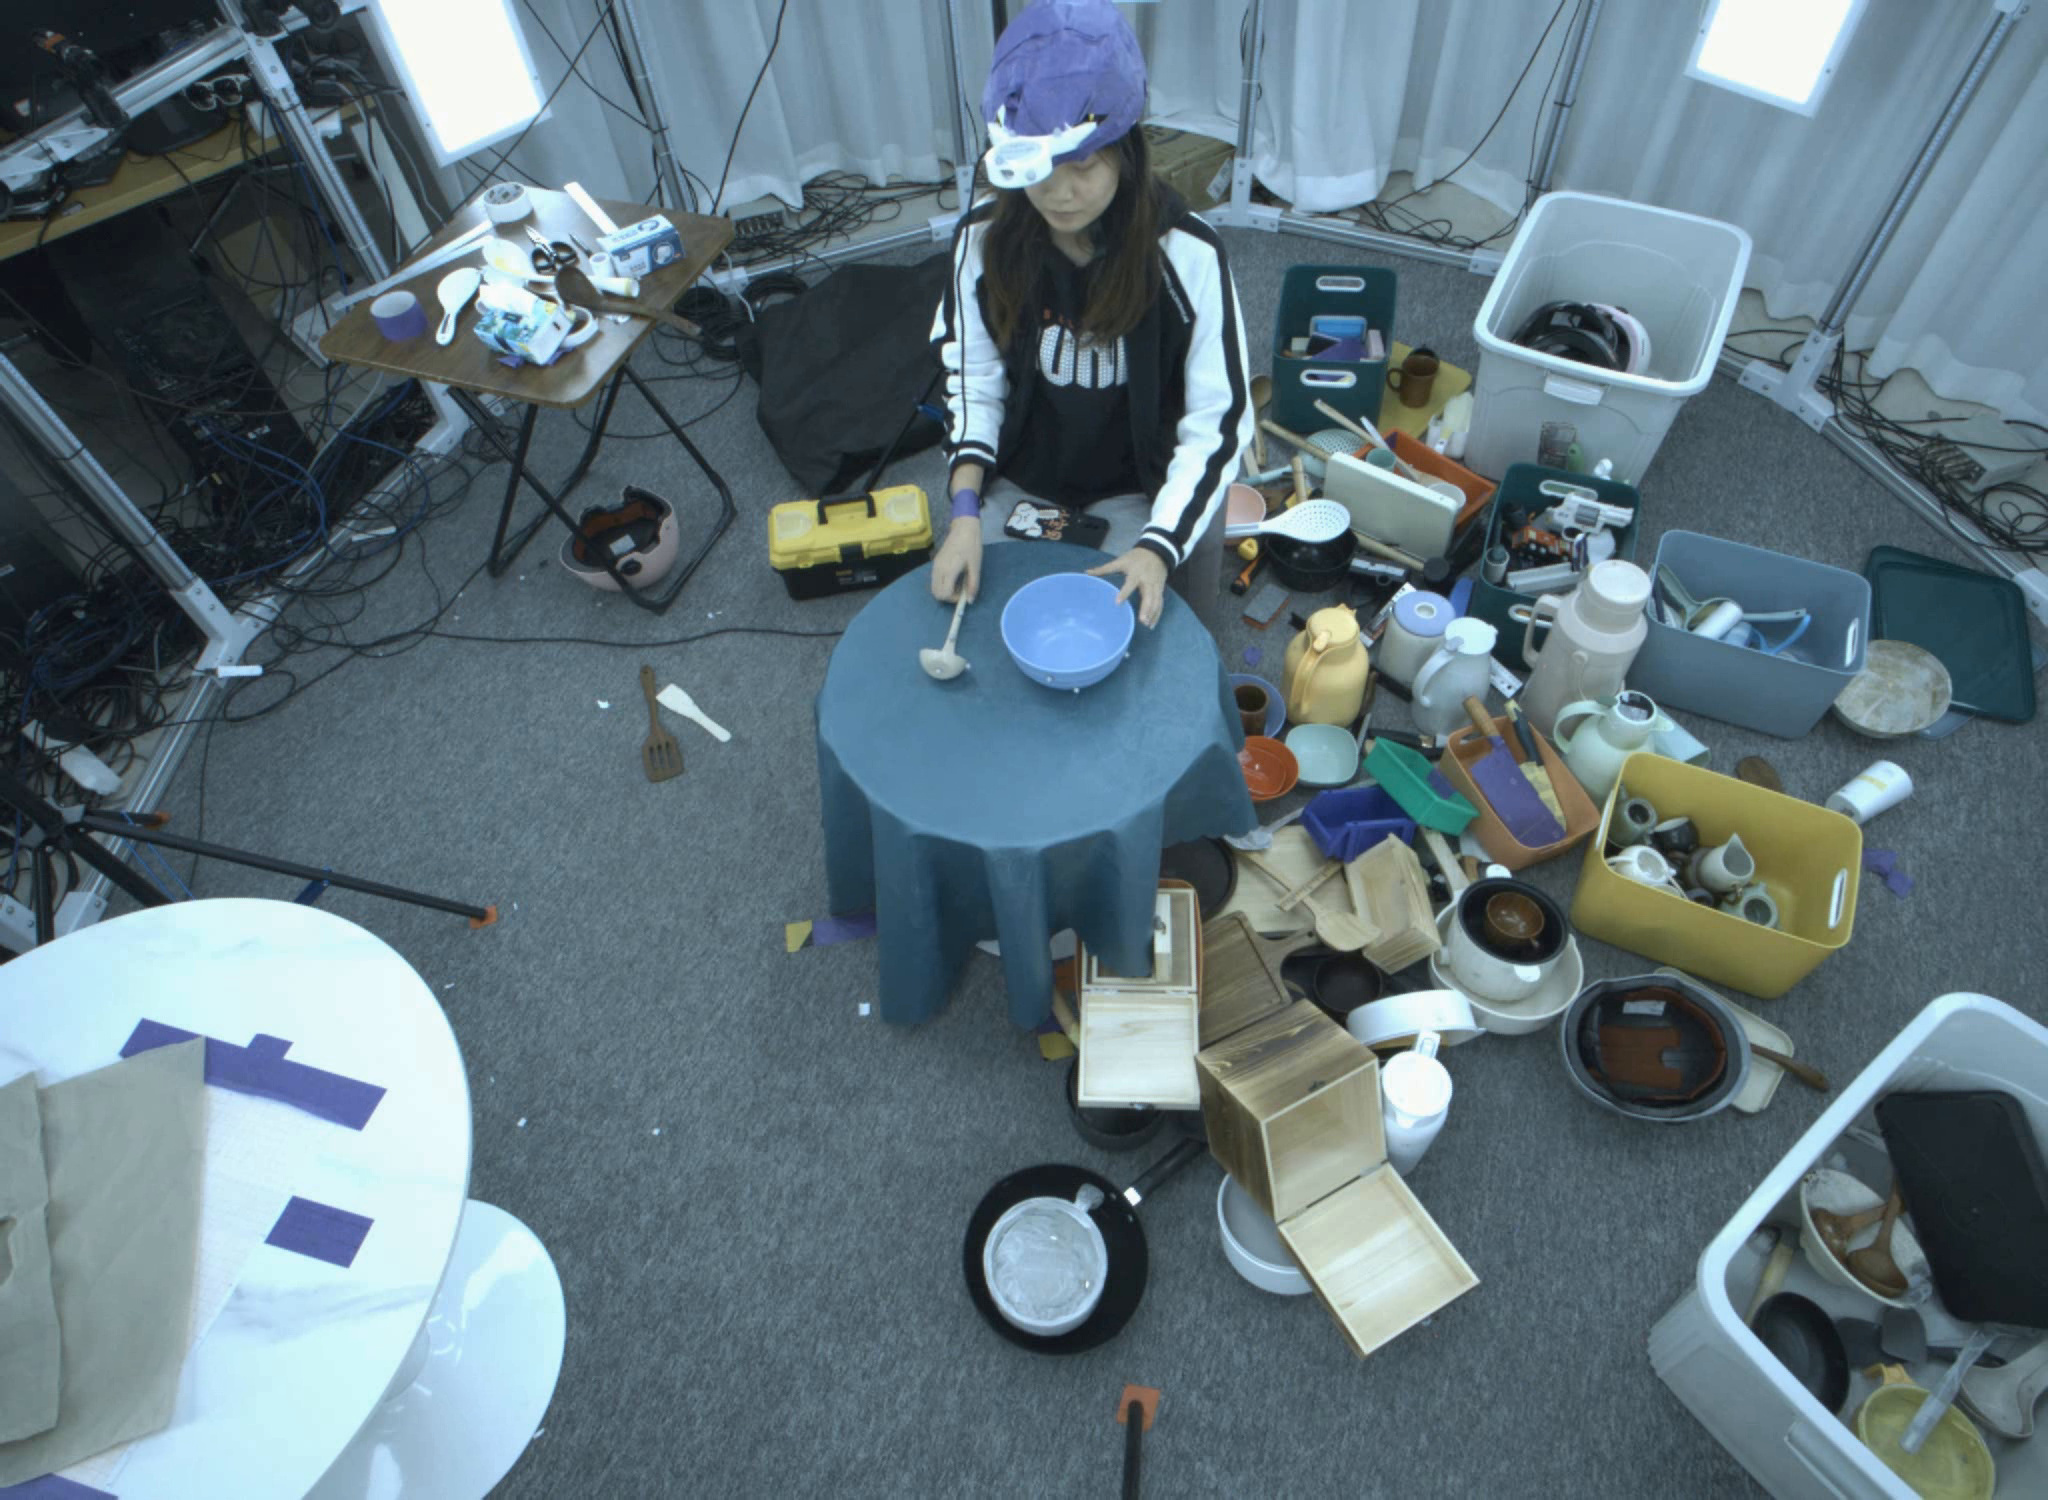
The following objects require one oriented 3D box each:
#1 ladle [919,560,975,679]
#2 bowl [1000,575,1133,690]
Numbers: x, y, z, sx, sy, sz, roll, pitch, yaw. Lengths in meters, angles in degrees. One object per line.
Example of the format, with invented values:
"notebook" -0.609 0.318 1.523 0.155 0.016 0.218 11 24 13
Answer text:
"ladle" -0.106 -0.222 1.897 0.072 0.073 0.253 10 59 2
"bowl" 0.066 -0.161 1.845 0.196 0.096 0.194 -1 54 3
